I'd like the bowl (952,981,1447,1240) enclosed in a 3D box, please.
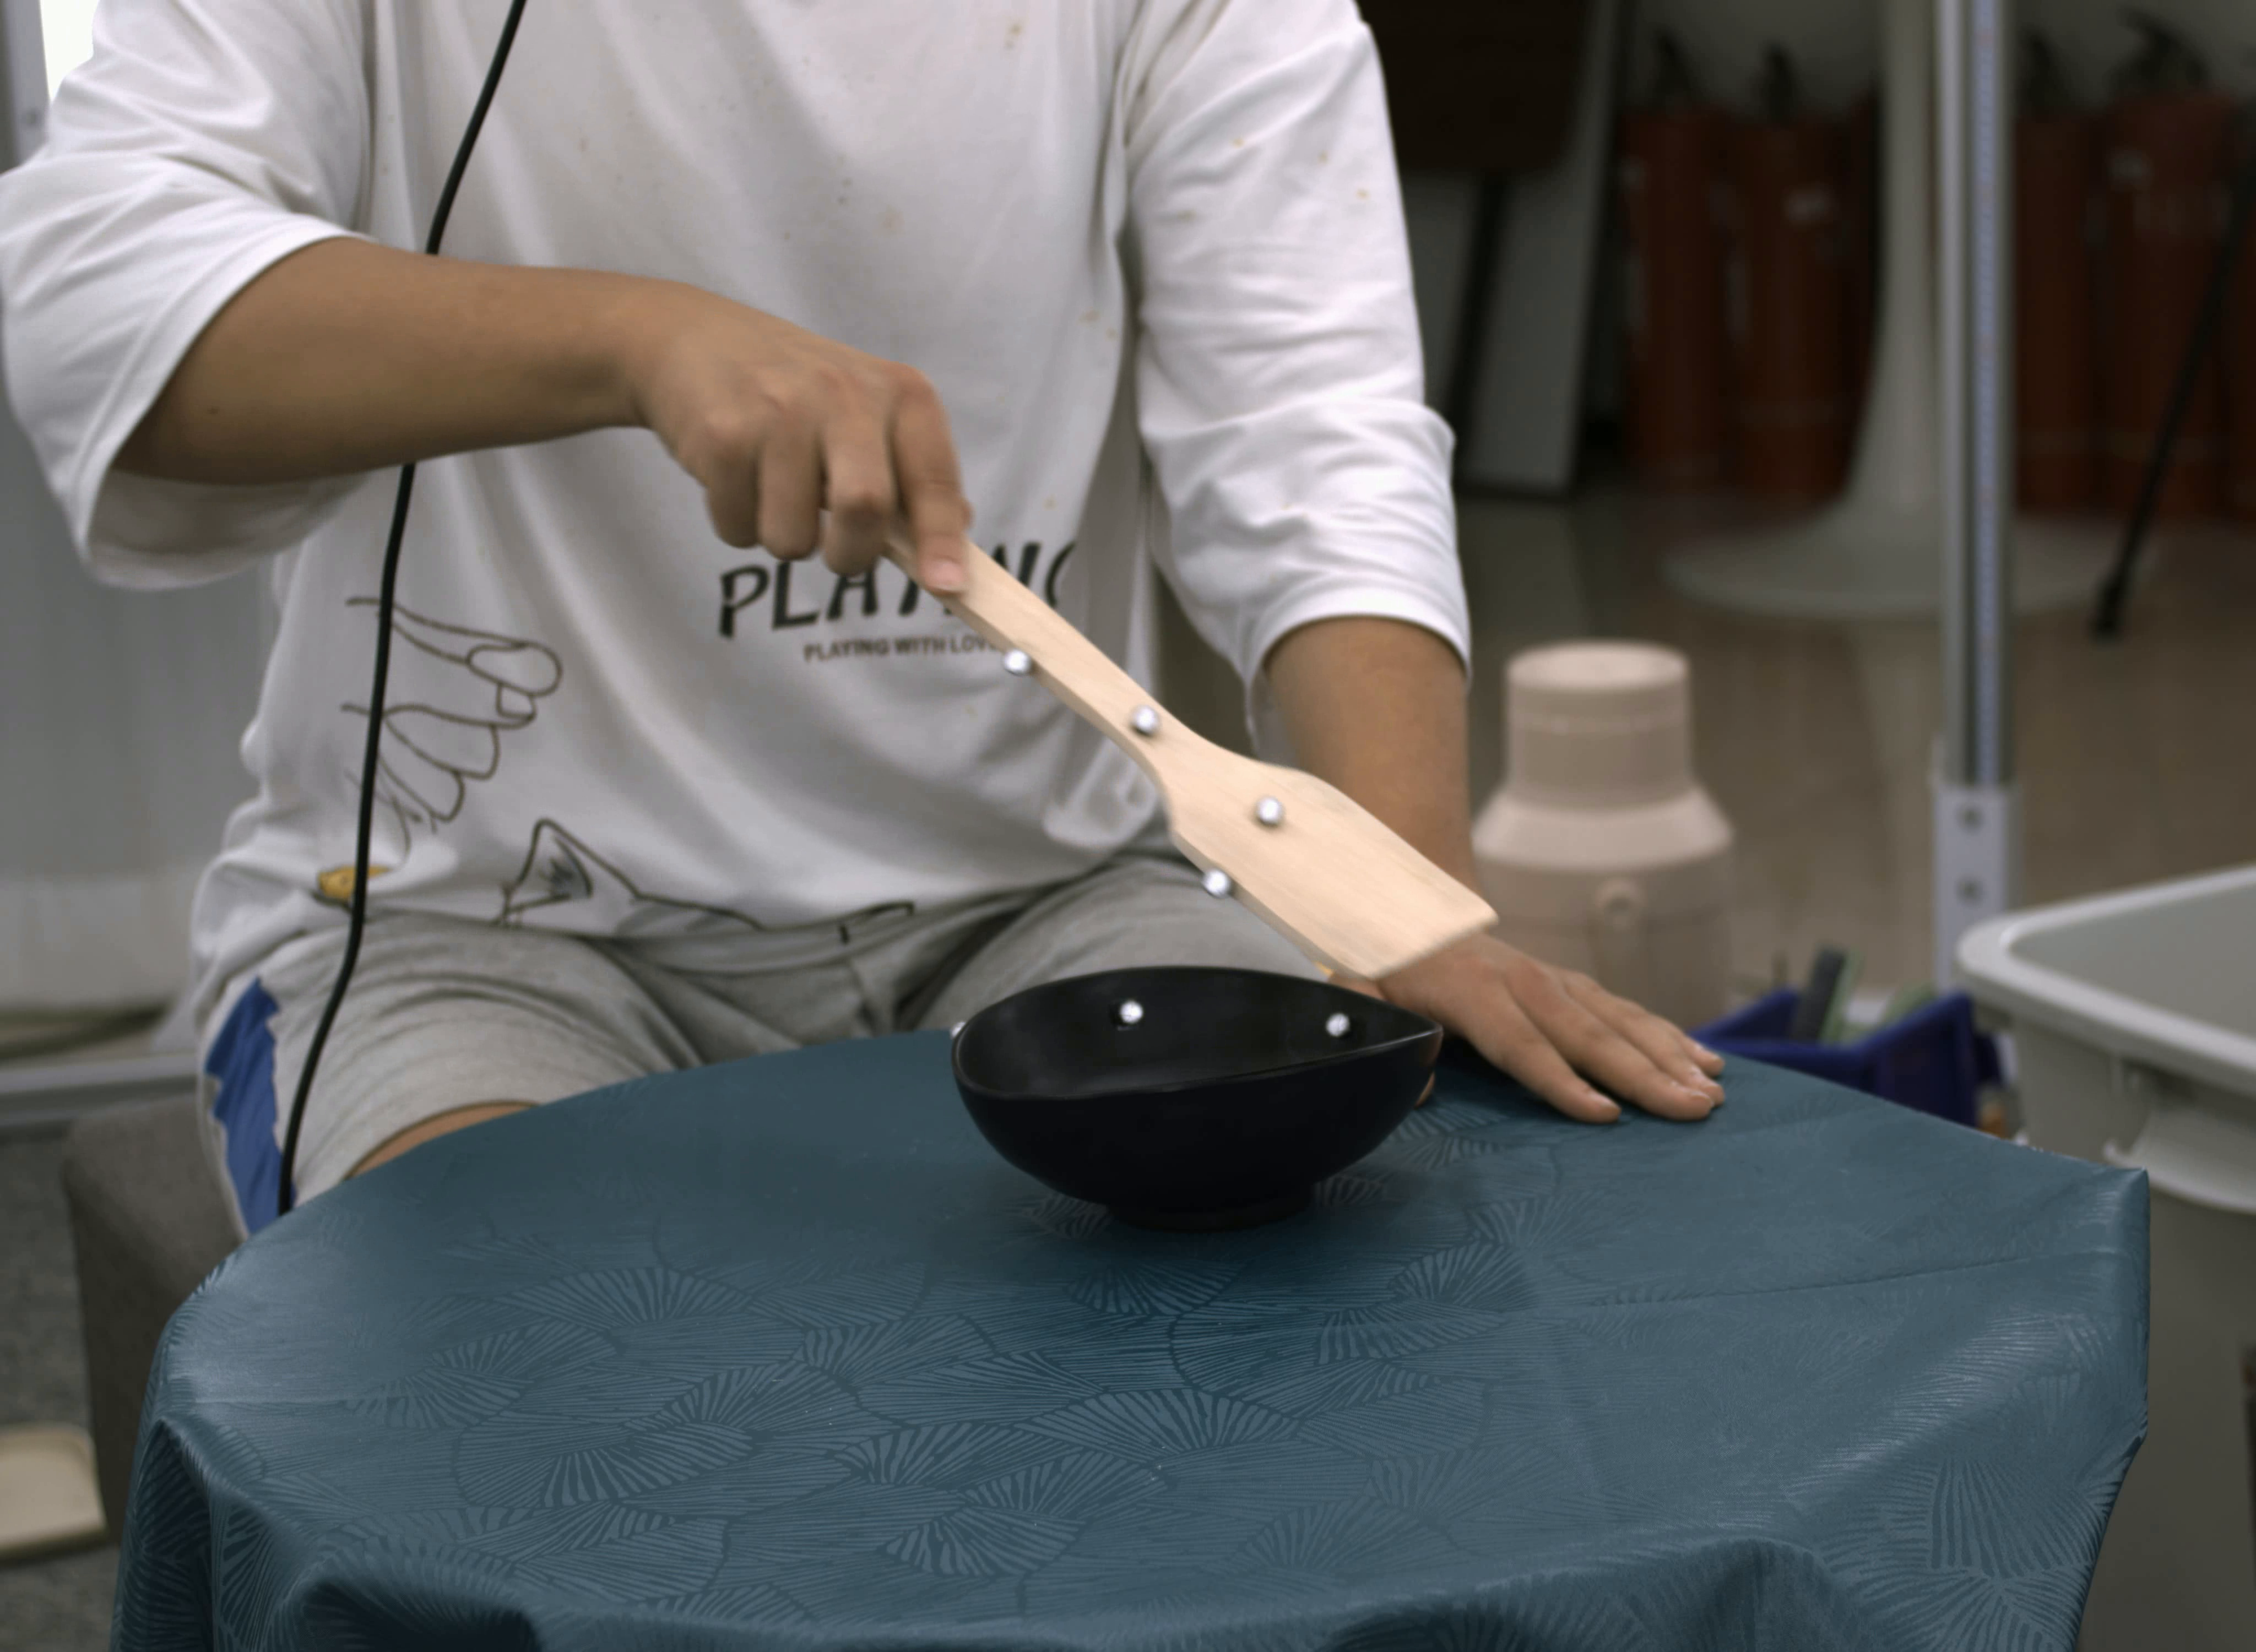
[{"bbox_3d":[0.024,0.094,1.751,0.166,0.067,0.139,-9,15,-28],"label":"bowl"}]

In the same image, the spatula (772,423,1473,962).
[{"bbox_3d":[-0.013,-0.048,1.738,0.295,0.011,0.071,39,40,27],"label":"spatula"}]
